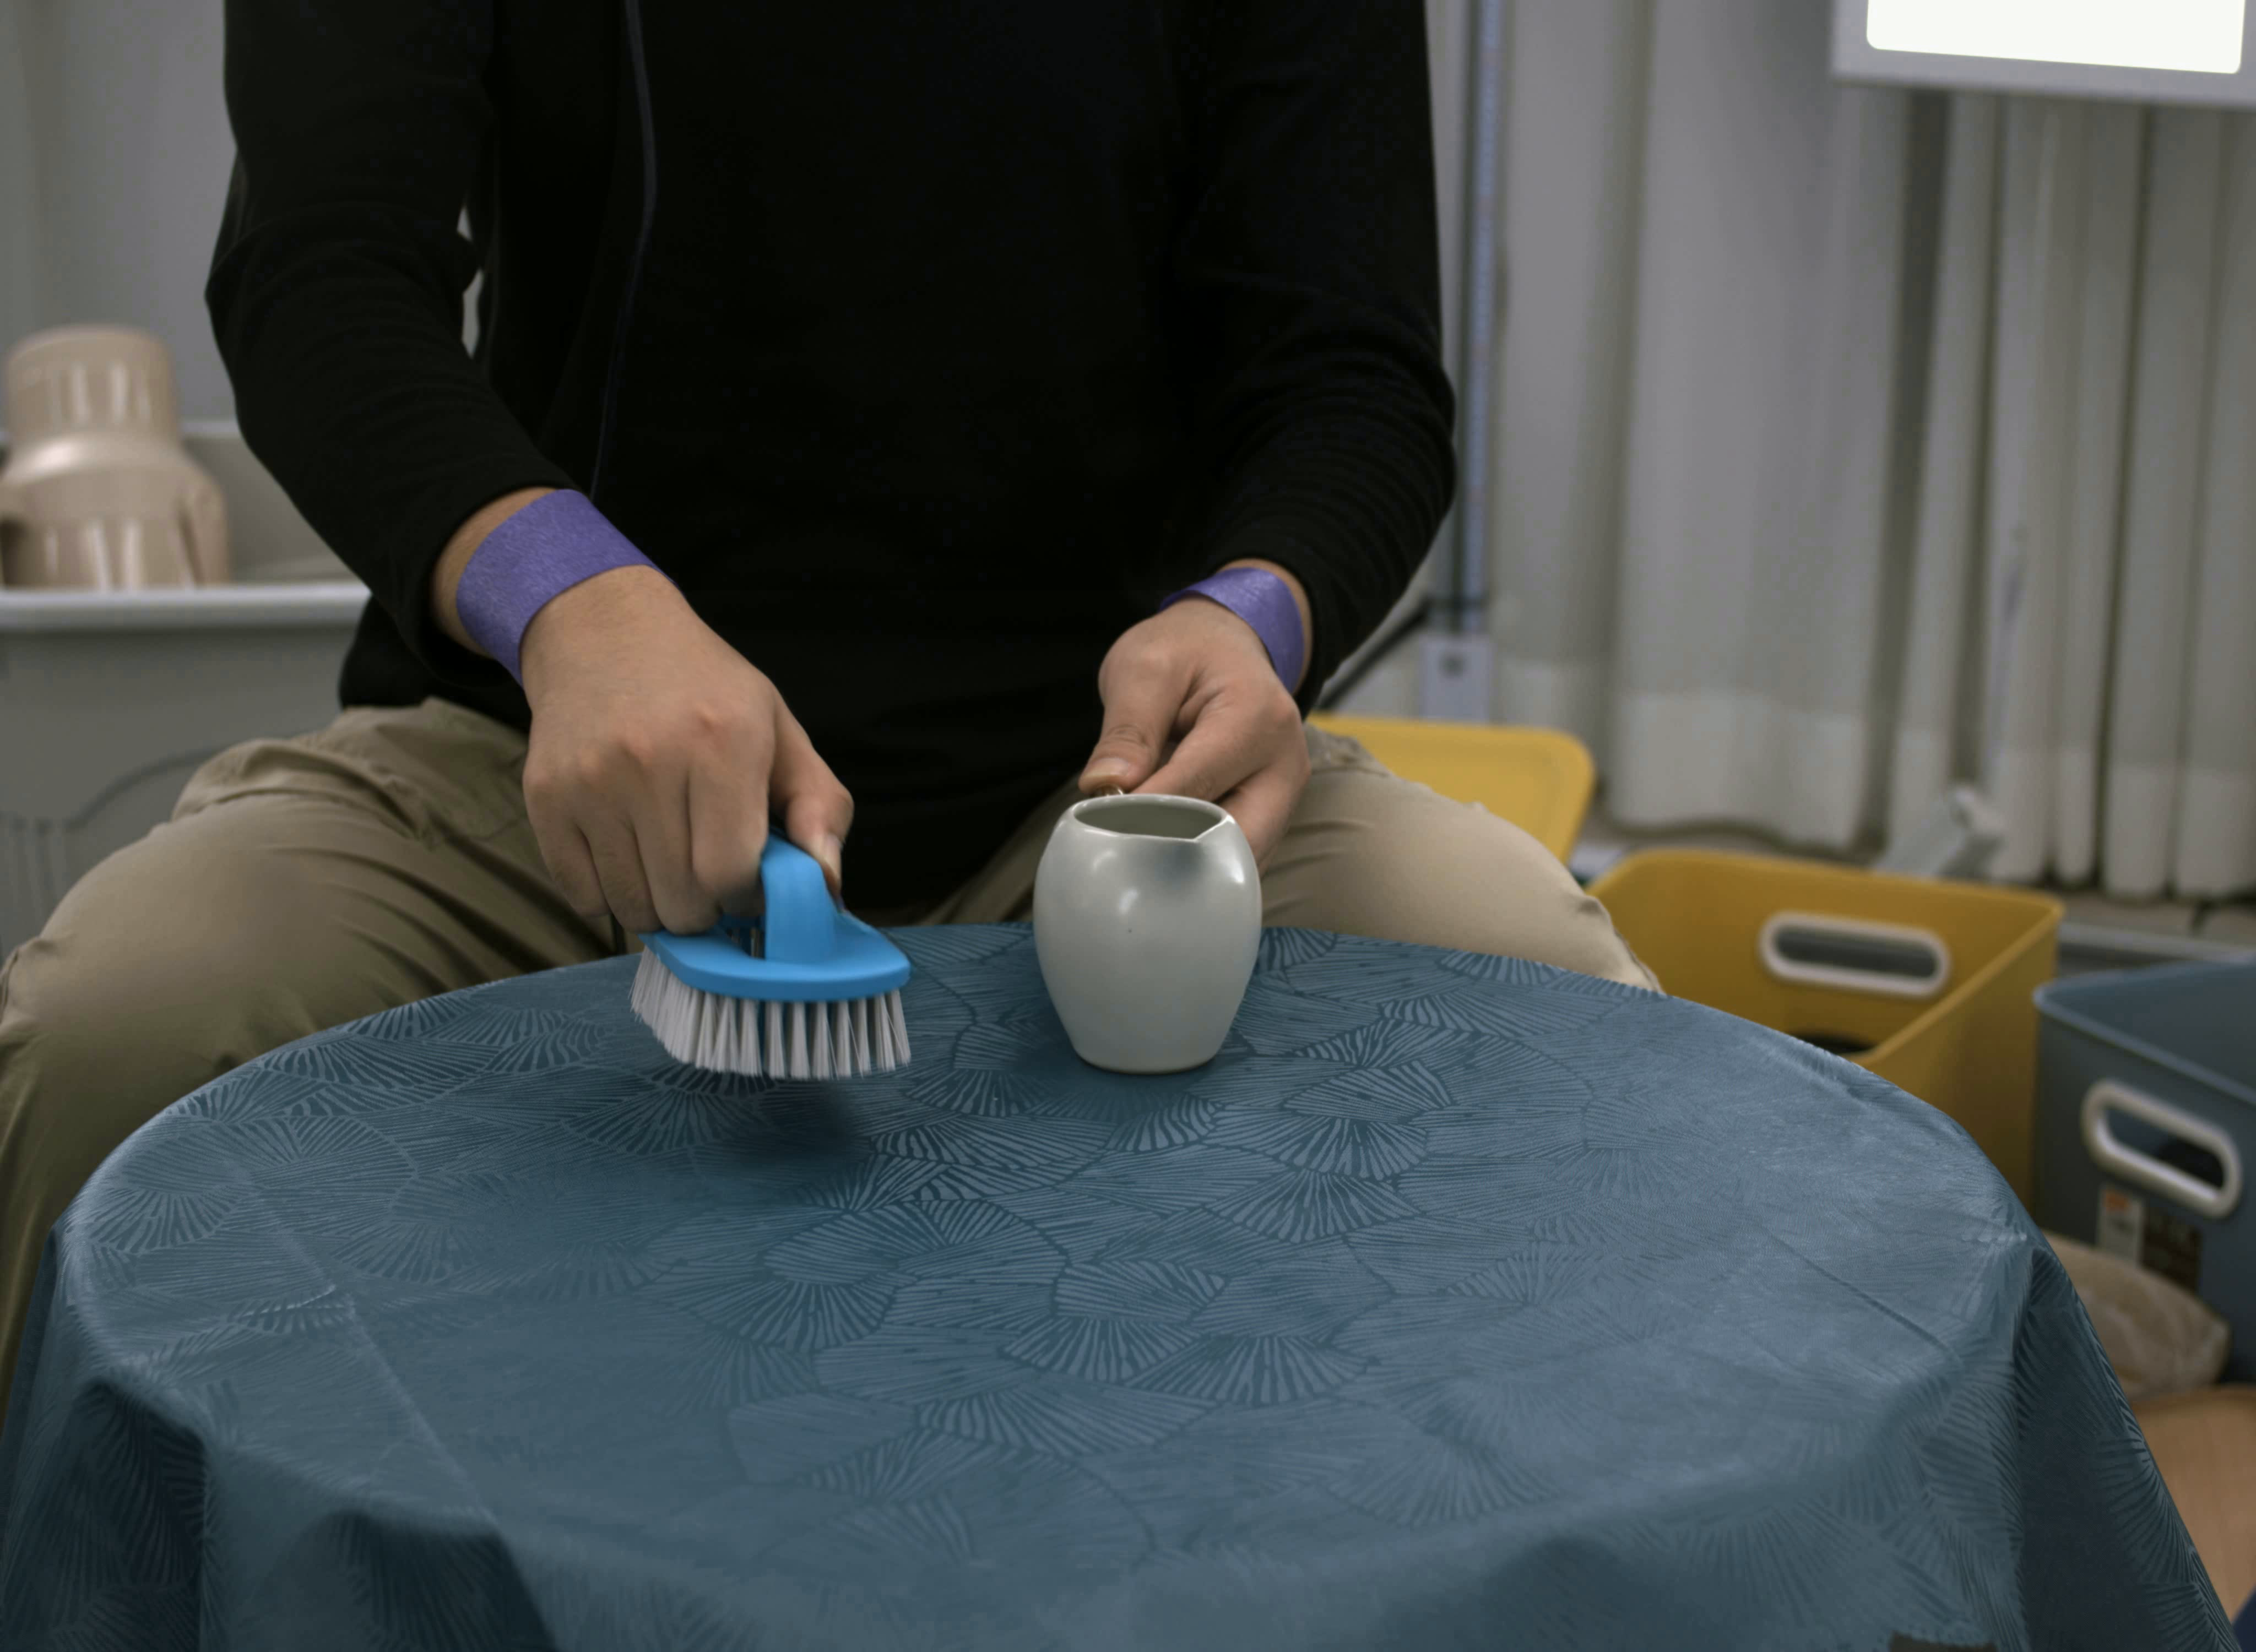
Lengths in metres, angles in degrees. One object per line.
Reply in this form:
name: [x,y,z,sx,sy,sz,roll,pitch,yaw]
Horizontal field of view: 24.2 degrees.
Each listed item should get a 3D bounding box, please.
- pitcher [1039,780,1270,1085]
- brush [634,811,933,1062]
pitcher: [0.006,0.034,1.739,0.076,0.088,0.118,3,19,-12]
brush: [-0.112,0.031,1.677,0.084,0.064,0.140,-5,11,-14]
